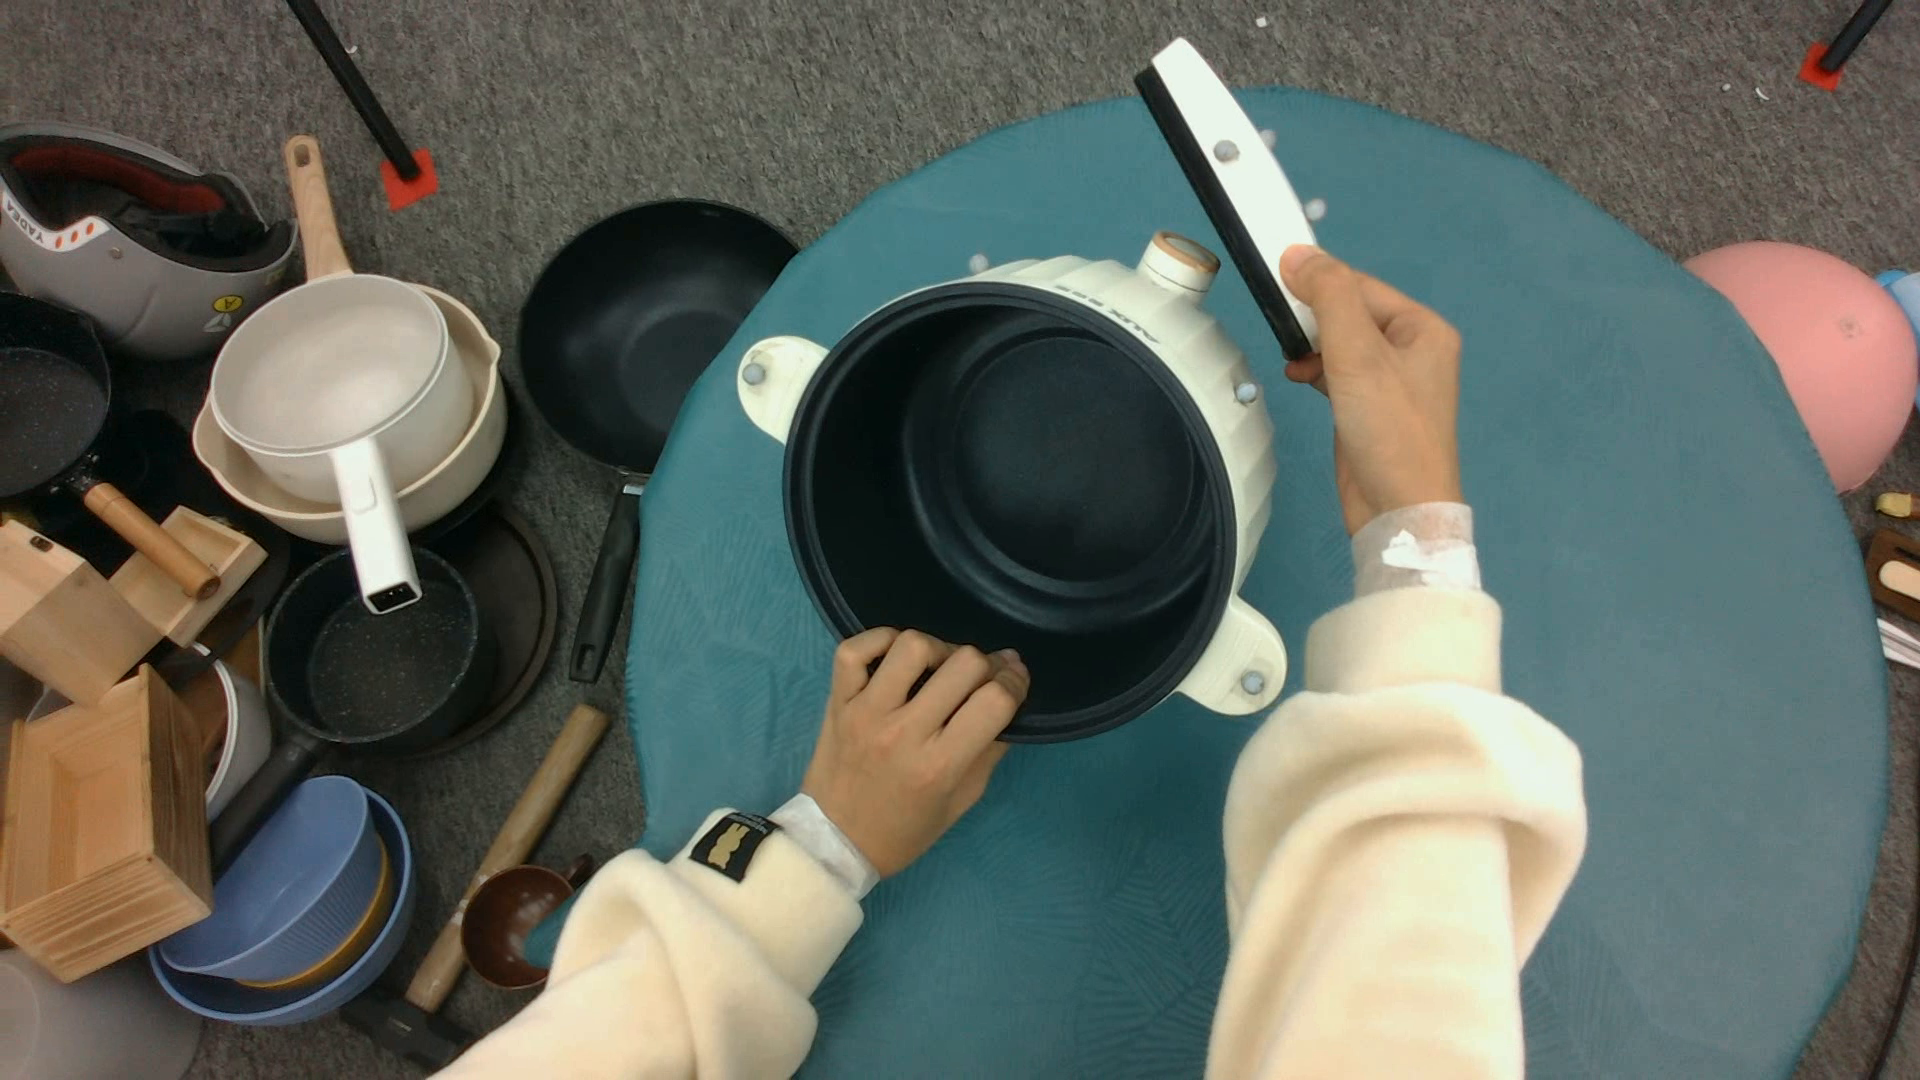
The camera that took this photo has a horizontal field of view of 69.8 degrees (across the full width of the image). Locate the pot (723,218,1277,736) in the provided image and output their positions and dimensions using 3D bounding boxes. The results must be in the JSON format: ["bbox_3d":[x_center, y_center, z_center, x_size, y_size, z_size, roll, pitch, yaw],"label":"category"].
[{"bbox_3d":[0.034,-0.035,0.569,0.240,0.189,0.143,30,30,9],"label":"pot"}]

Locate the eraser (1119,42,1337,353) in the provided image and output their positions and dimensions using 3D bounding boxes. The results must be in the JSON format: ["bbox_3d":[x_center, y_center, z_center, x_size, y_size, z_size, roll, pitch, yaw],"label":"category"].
[{"bbox_3d":[0.111,-0.138,0.553,0.034,0.063,0.131,-31,79,18],"label":"eraser"}]
